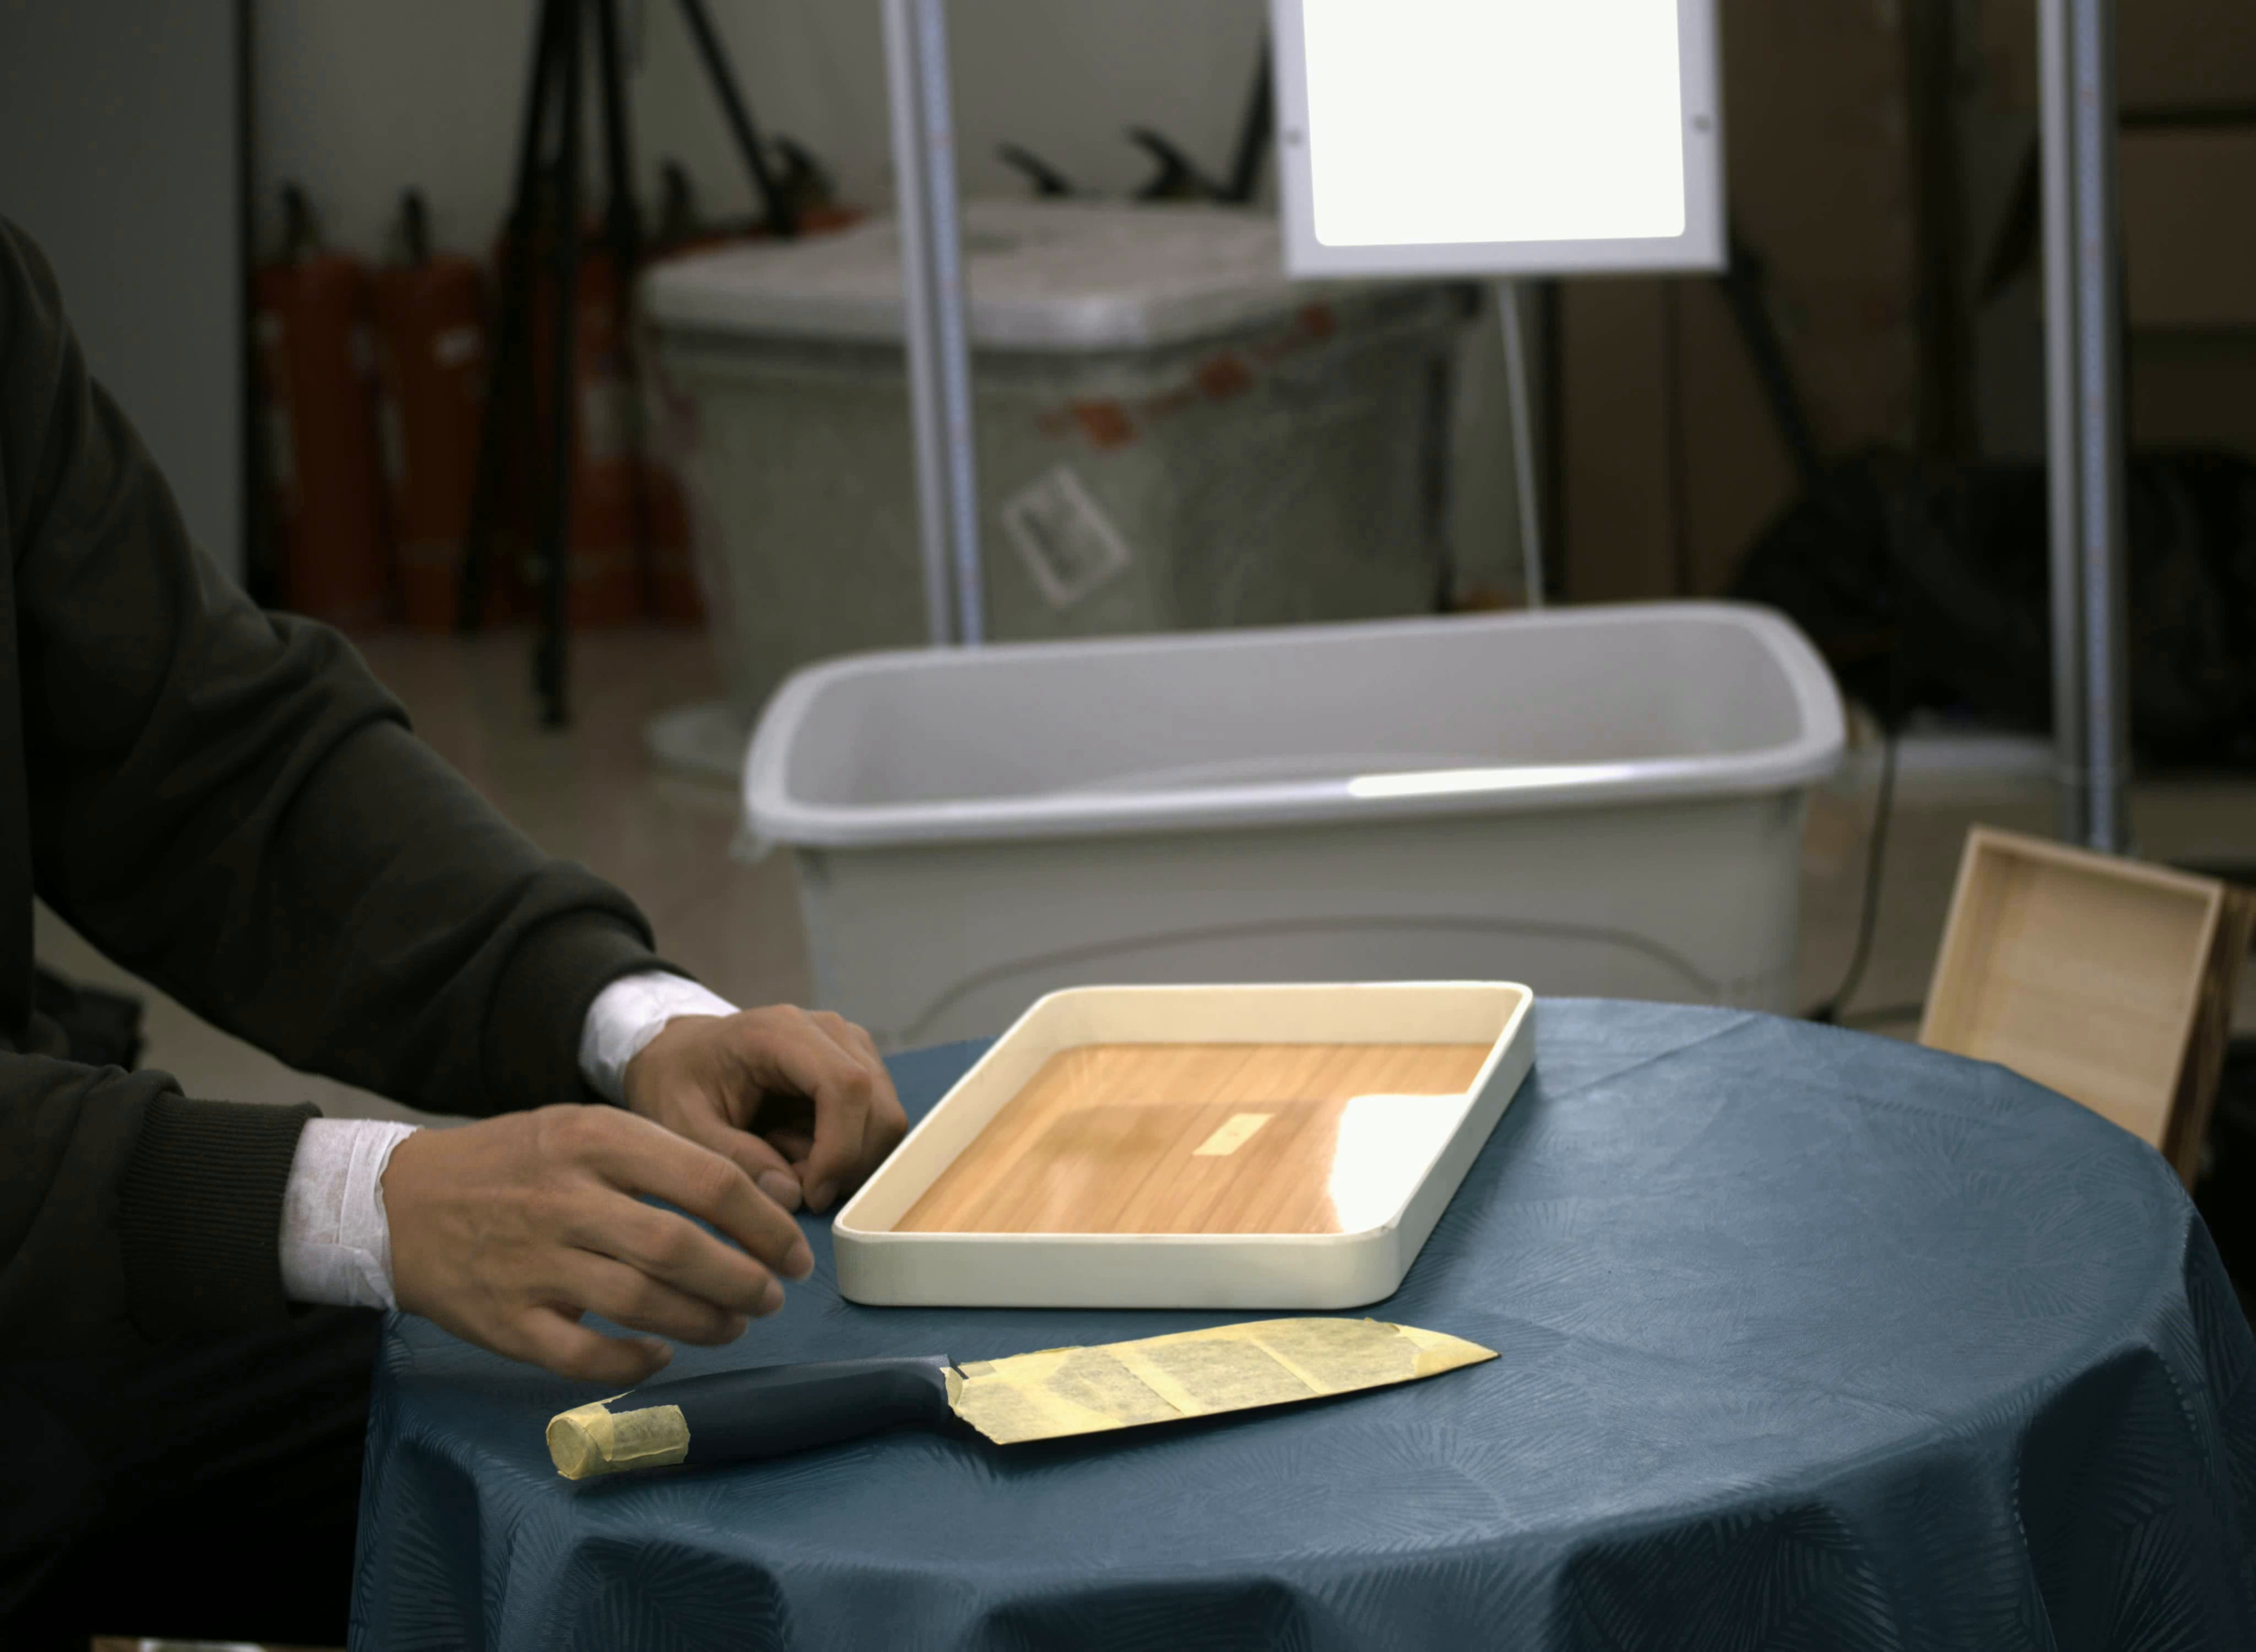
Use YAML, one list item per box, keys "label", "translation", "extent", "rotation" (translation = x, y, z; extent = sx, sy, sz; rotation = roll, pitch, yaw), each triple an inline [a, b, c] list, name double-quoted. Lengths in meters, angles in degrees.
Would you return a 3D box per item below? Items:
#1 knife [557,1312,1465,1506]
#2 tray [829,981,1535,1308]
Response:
- label: "knife"
  translation: [-0.031, 0.176, 1.681]
  extent: [0.285, 0.027, 0.082]
  rotation: [-8, 12, -15]
- label: "tray"
  translation: [0.026, 0.108, 1.915]
  extent: [0.193, 0.027, 0.296]
  rotation: [-2, 14, 16]
